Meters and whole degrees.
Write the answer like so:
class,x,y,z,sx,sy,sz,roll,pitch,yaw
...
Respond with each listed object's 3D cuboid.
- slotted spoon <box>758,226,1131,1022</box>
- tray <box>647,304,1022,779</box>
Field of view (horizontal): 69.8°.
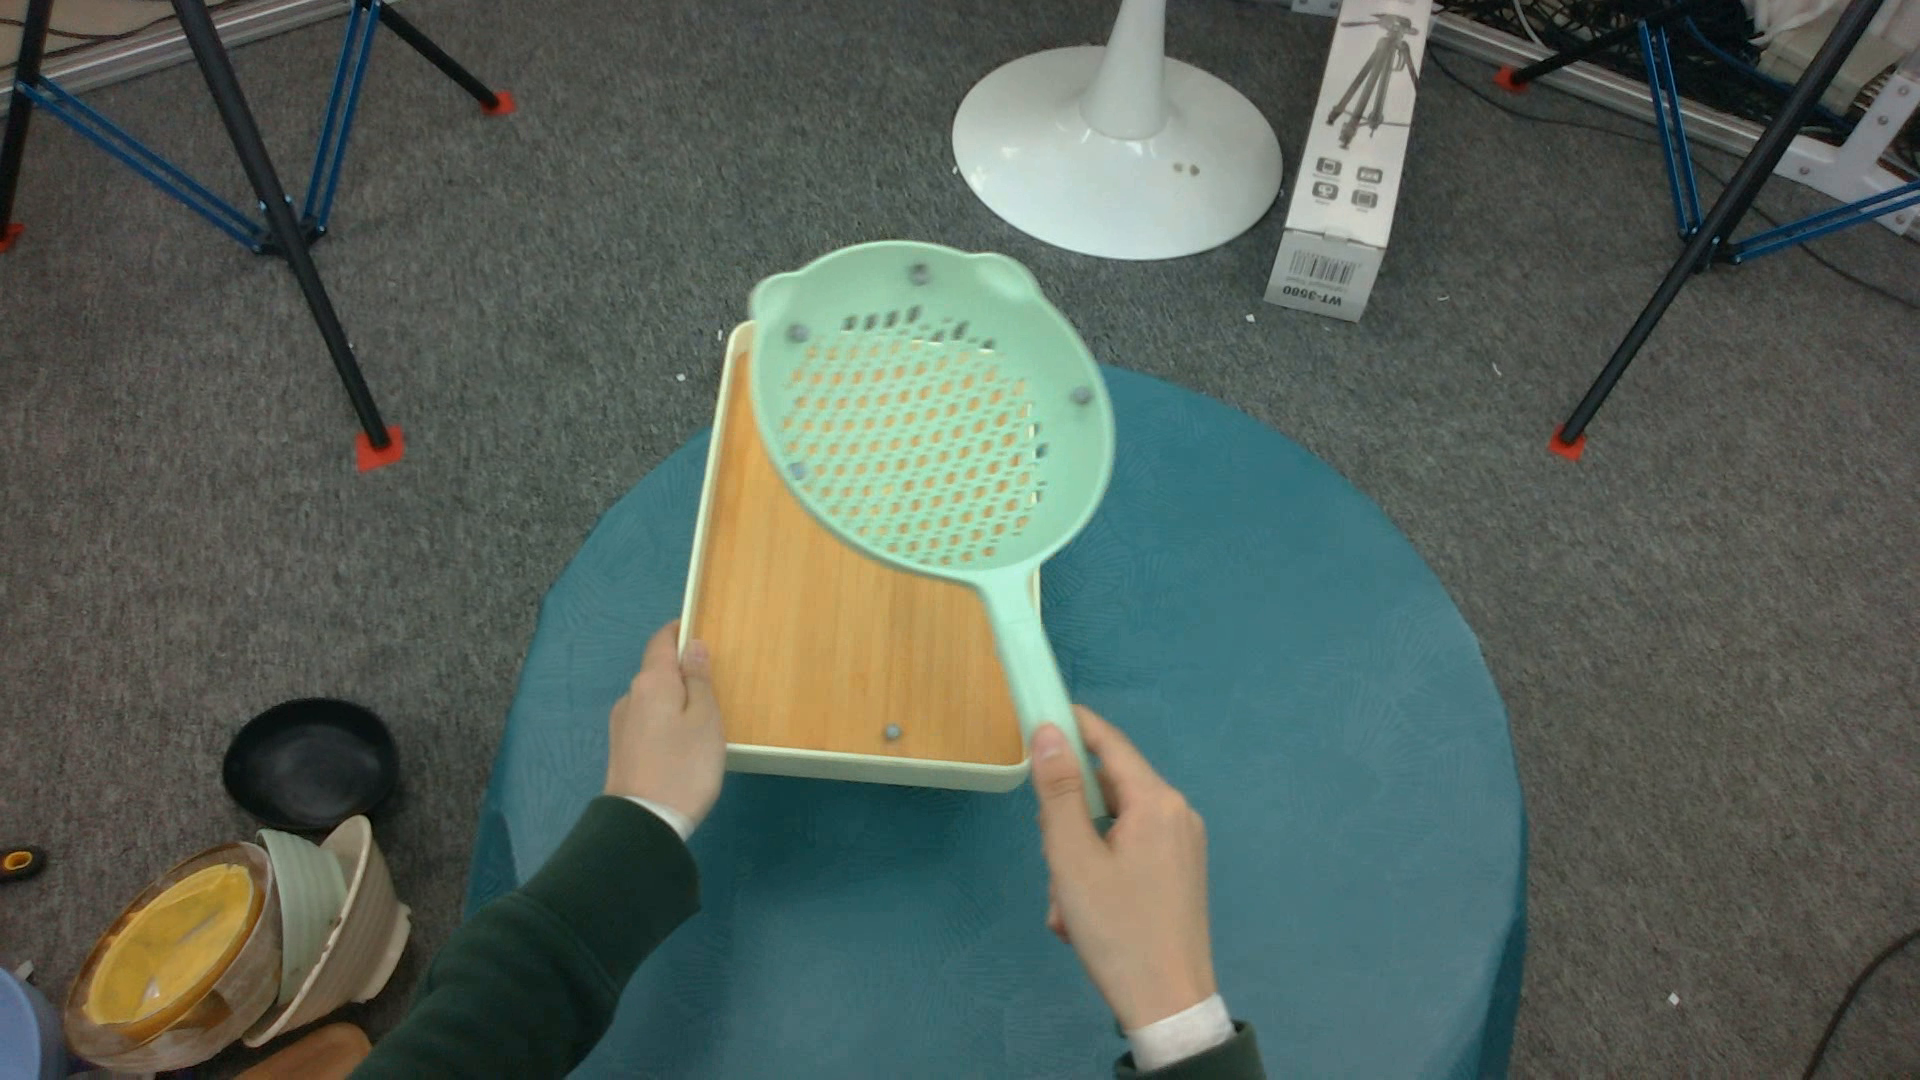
class,x,y,z,sx,sy,sz,roll,pitch,yaw
slotted spoon,0.016,0.024,0.606,0.170,0.075,0.360,-10,64,-21
tray,-0.062,-0.011,0.778,0.192,0.027,0.301,7,52,-8
